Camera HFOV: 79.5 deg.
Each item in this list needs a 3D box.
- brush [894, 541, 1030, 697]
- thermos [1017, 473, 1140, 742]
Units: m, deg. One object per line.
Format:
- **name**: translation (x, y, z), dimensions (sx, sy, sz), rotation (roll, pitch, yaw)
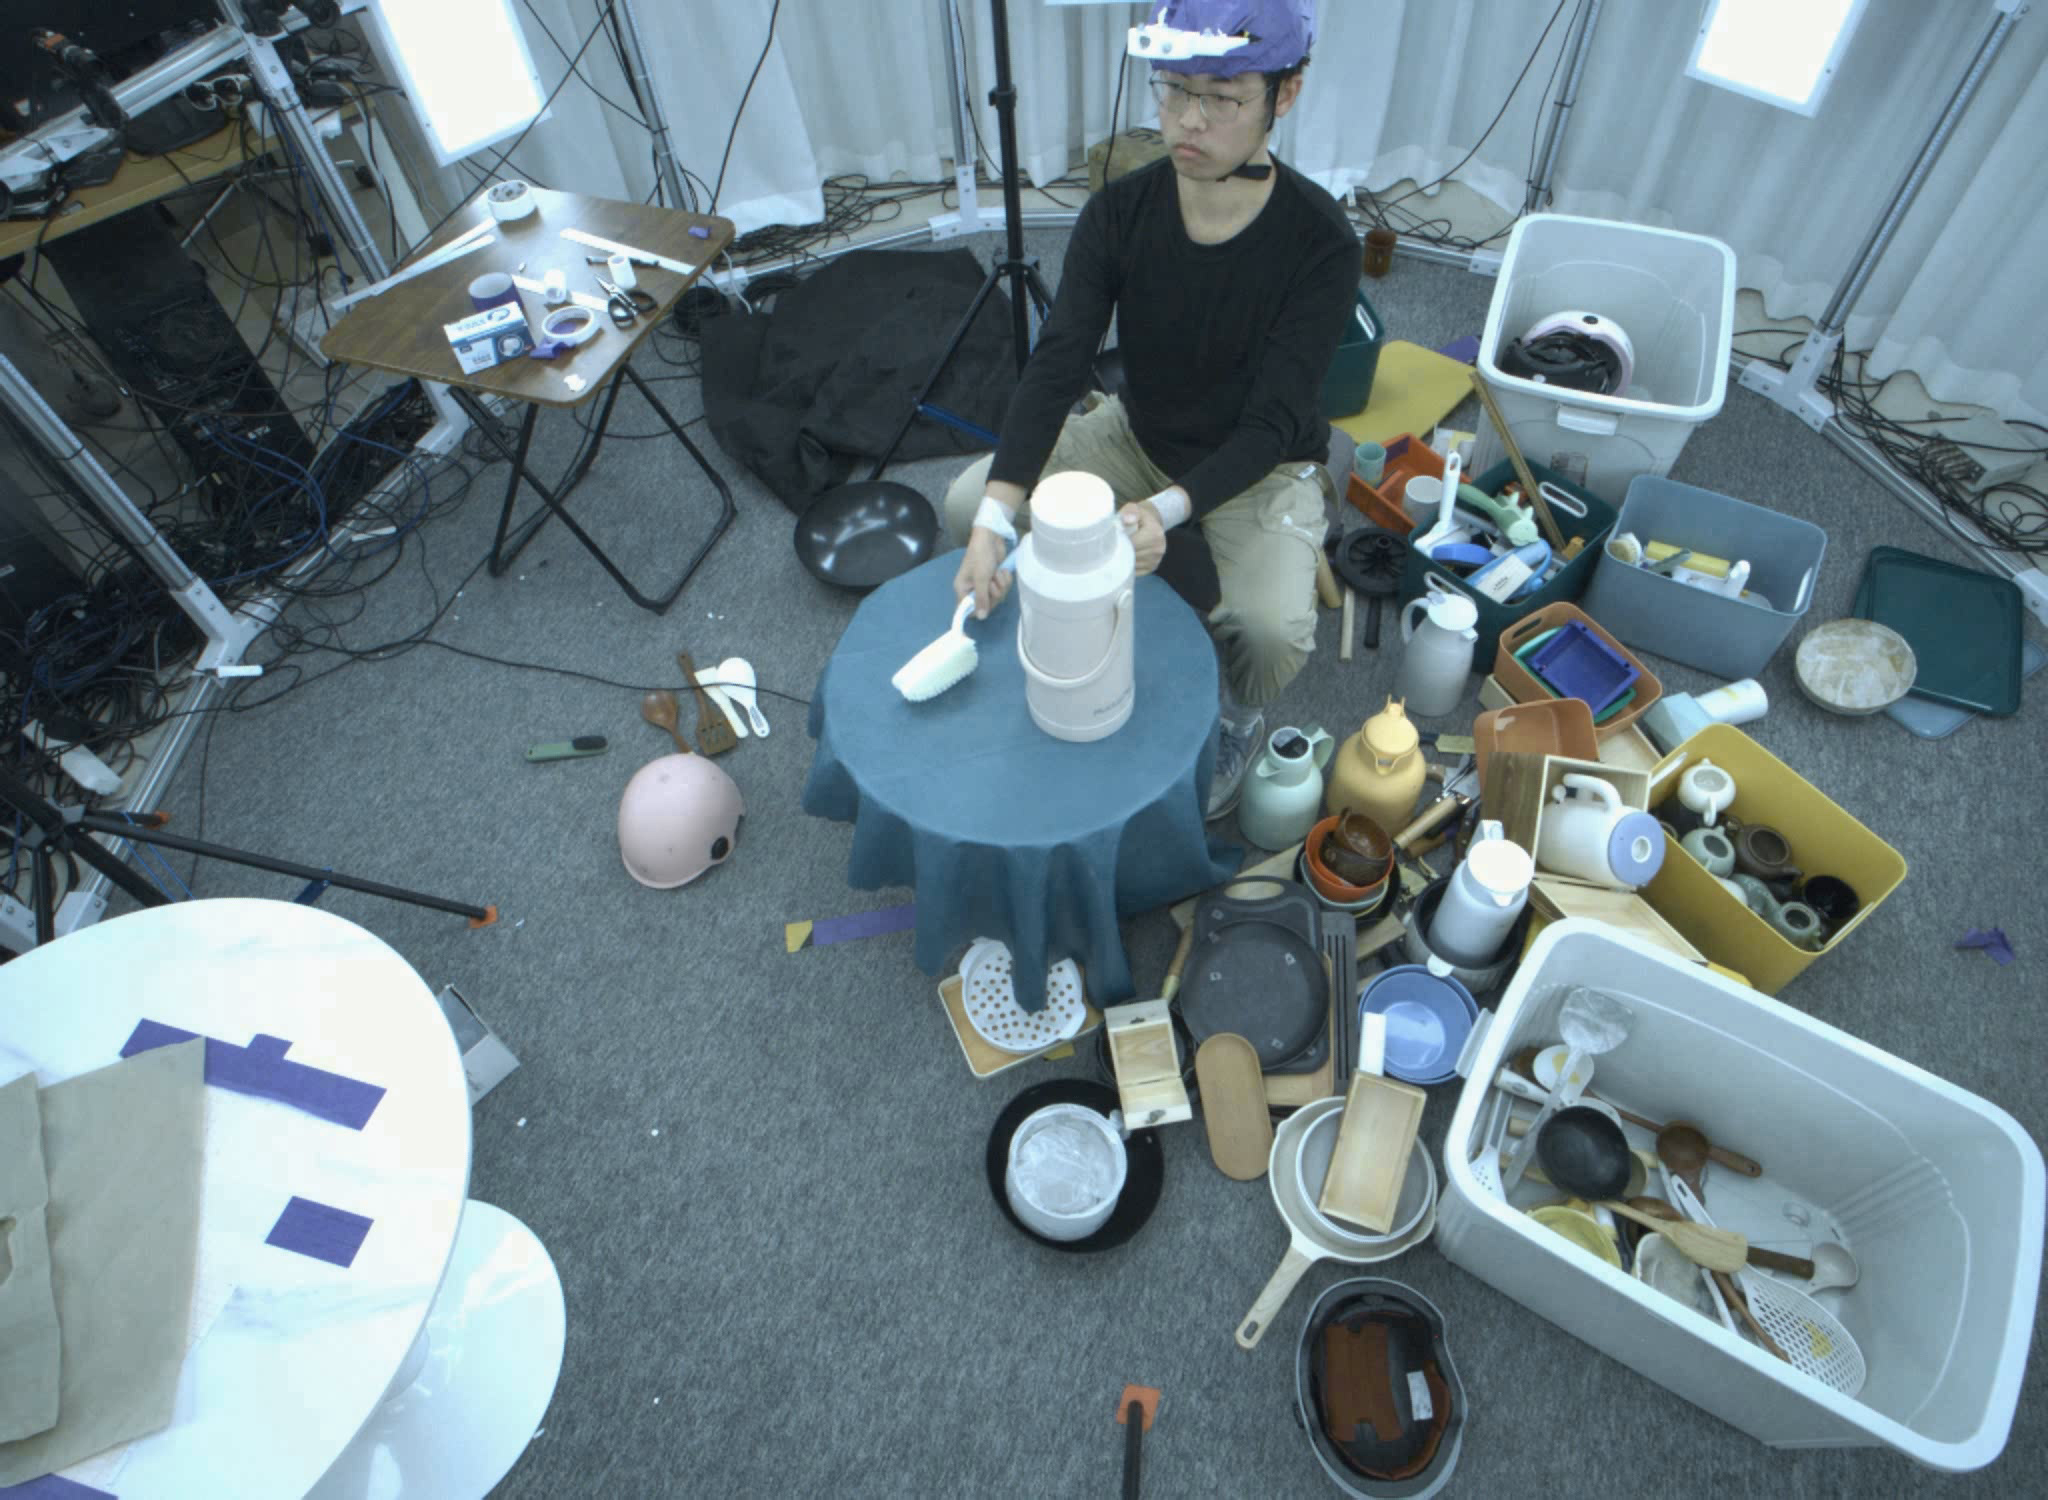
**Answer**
- **brush**: translation (-0.066, -0.198, 1.856), dimensions (0.085, 0.082, 0.327), rotation (46, 71, -11)
- **thermos**: translation (0.085, -0.199, 1.681), dimensions (0.172, 0.411, 0.208), rotation (34, 64, 26)
